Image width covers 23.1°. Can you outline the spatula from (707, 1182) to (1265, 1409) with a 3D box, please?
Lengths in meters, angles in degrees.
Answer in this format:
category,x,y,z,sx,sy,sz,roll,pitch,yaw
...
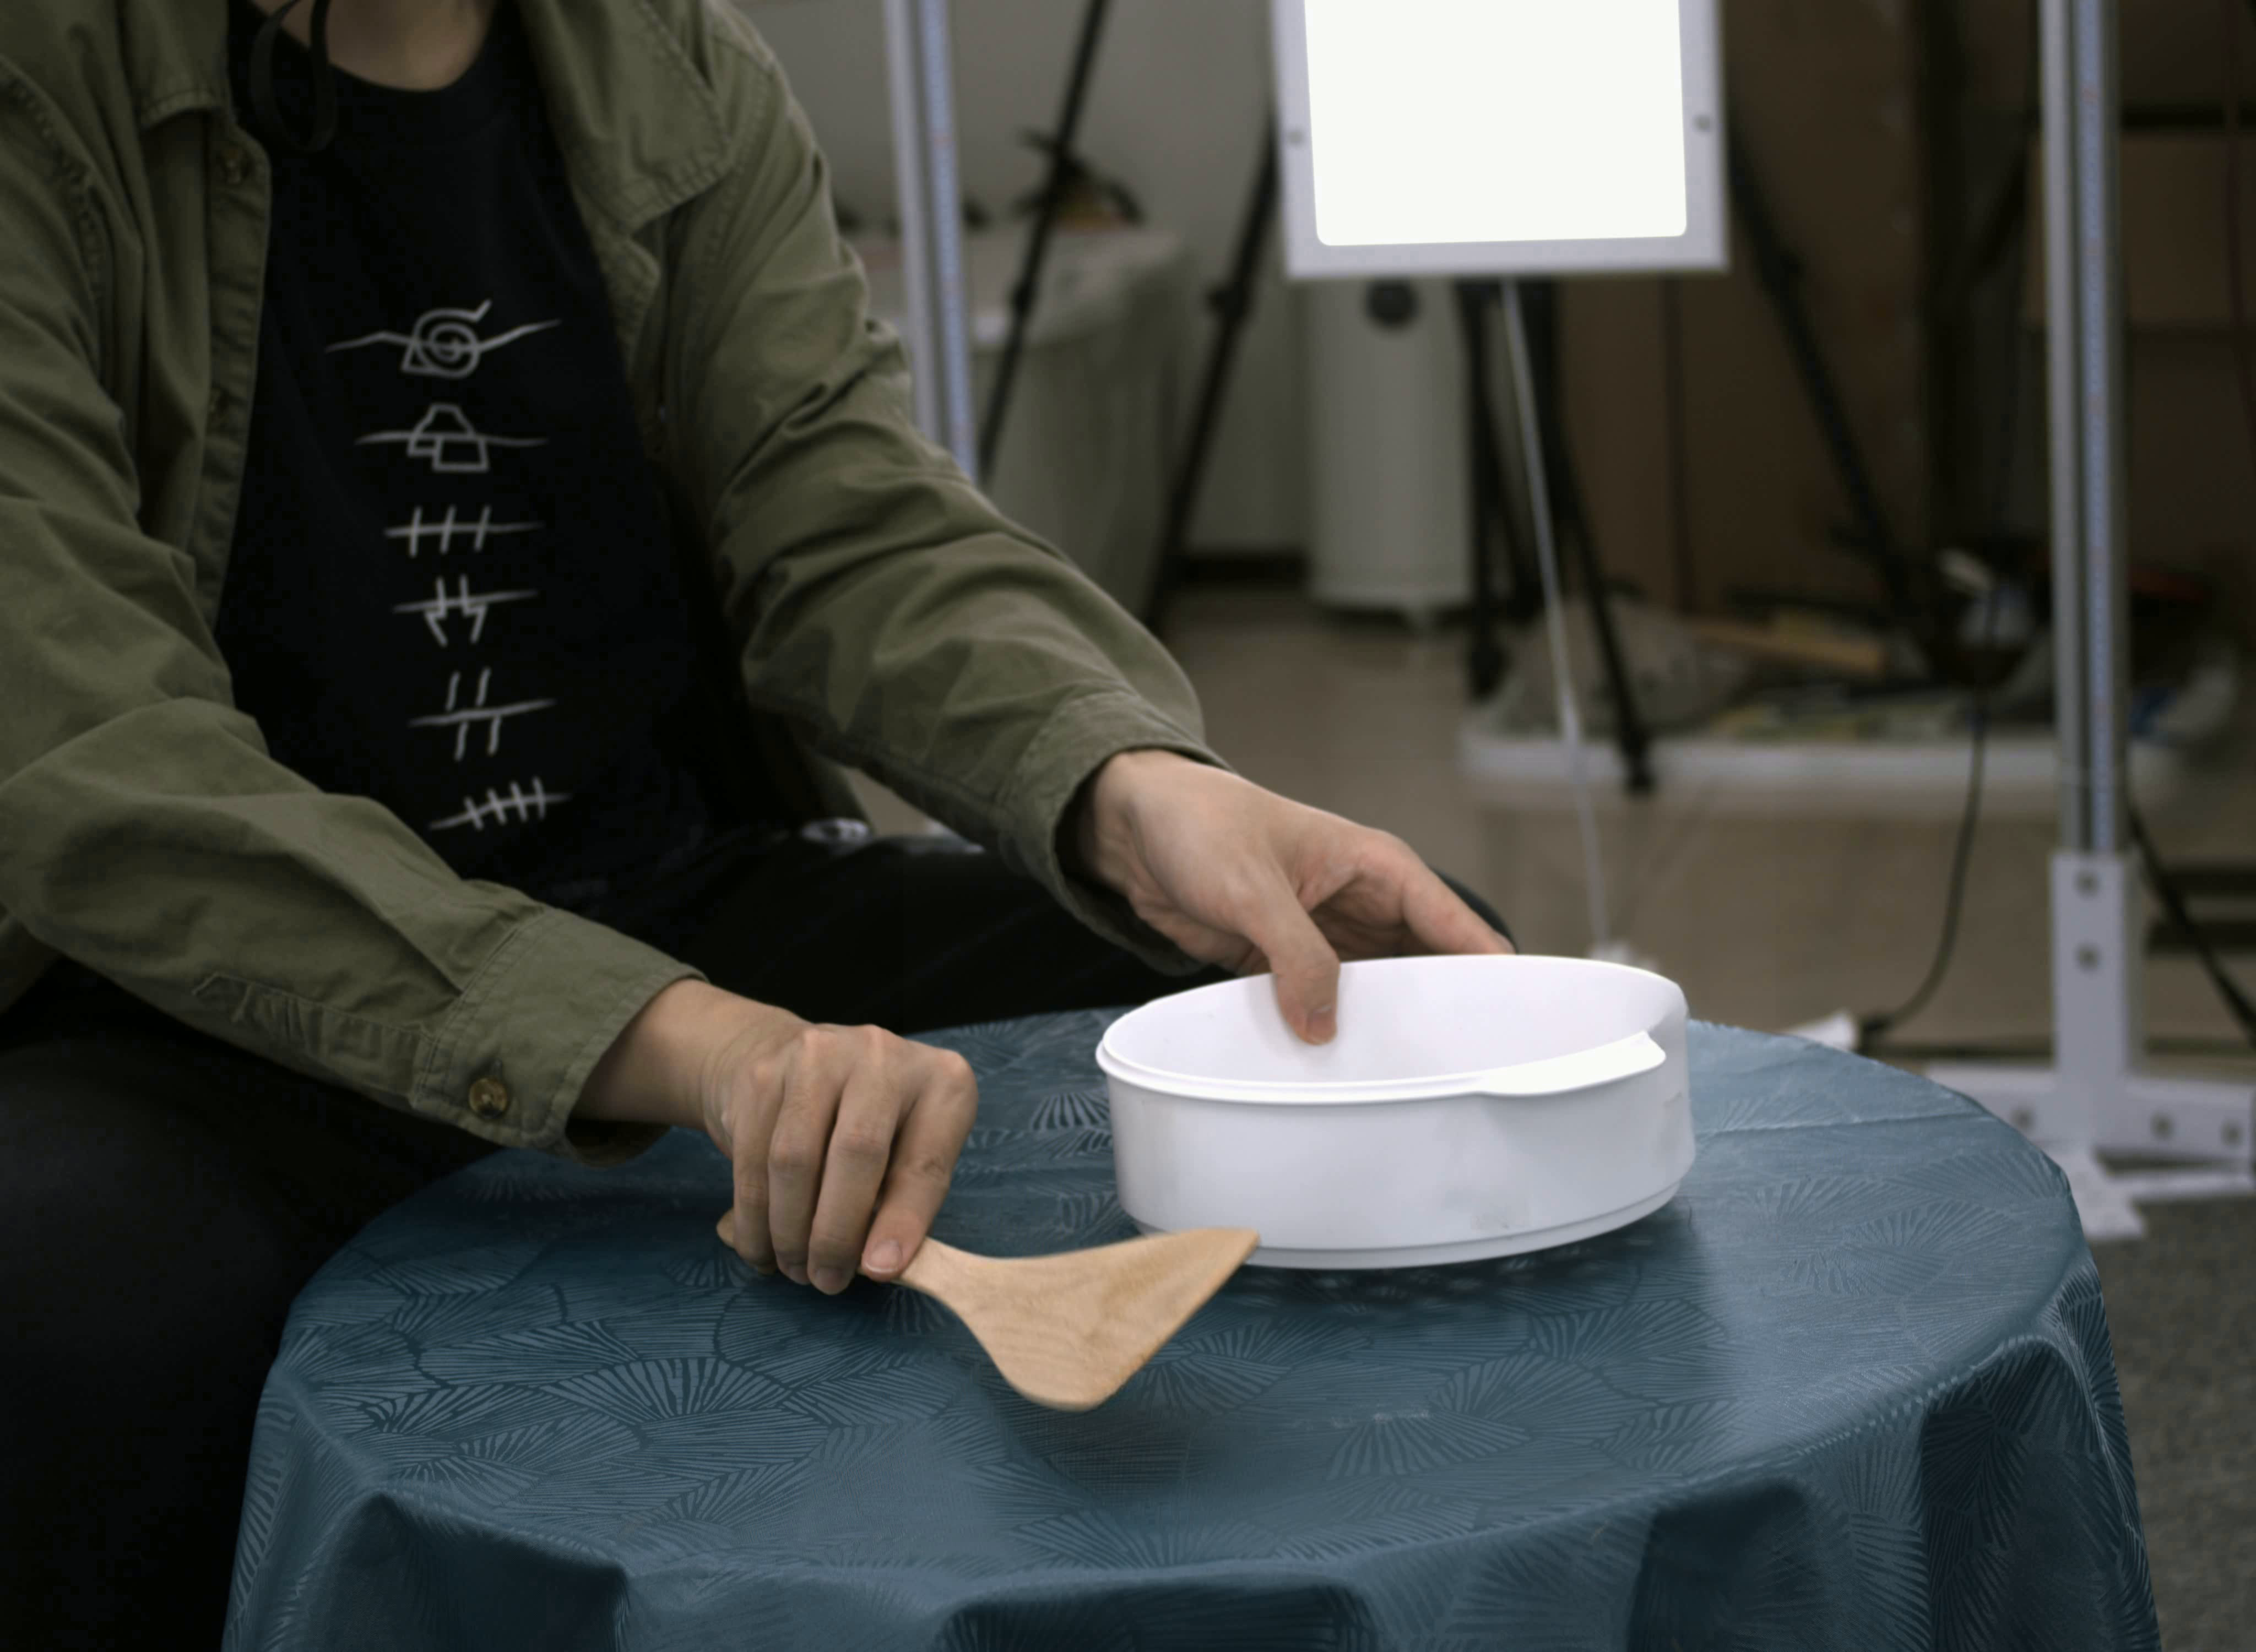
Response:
category,x,y,z,sx,sy,sz,roll,pitch,yaw
spatula,-0.058,0.138,1.753,0.079,0.016,0.334,-41,22,-21

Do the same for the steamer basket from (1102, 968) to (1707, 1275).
category,x,y,z,sx,sy,sz,roll,pitch,yaw
steamer basket,0.094,0.098,1.825,0.197,0.069,0.235,-11,10,-32
